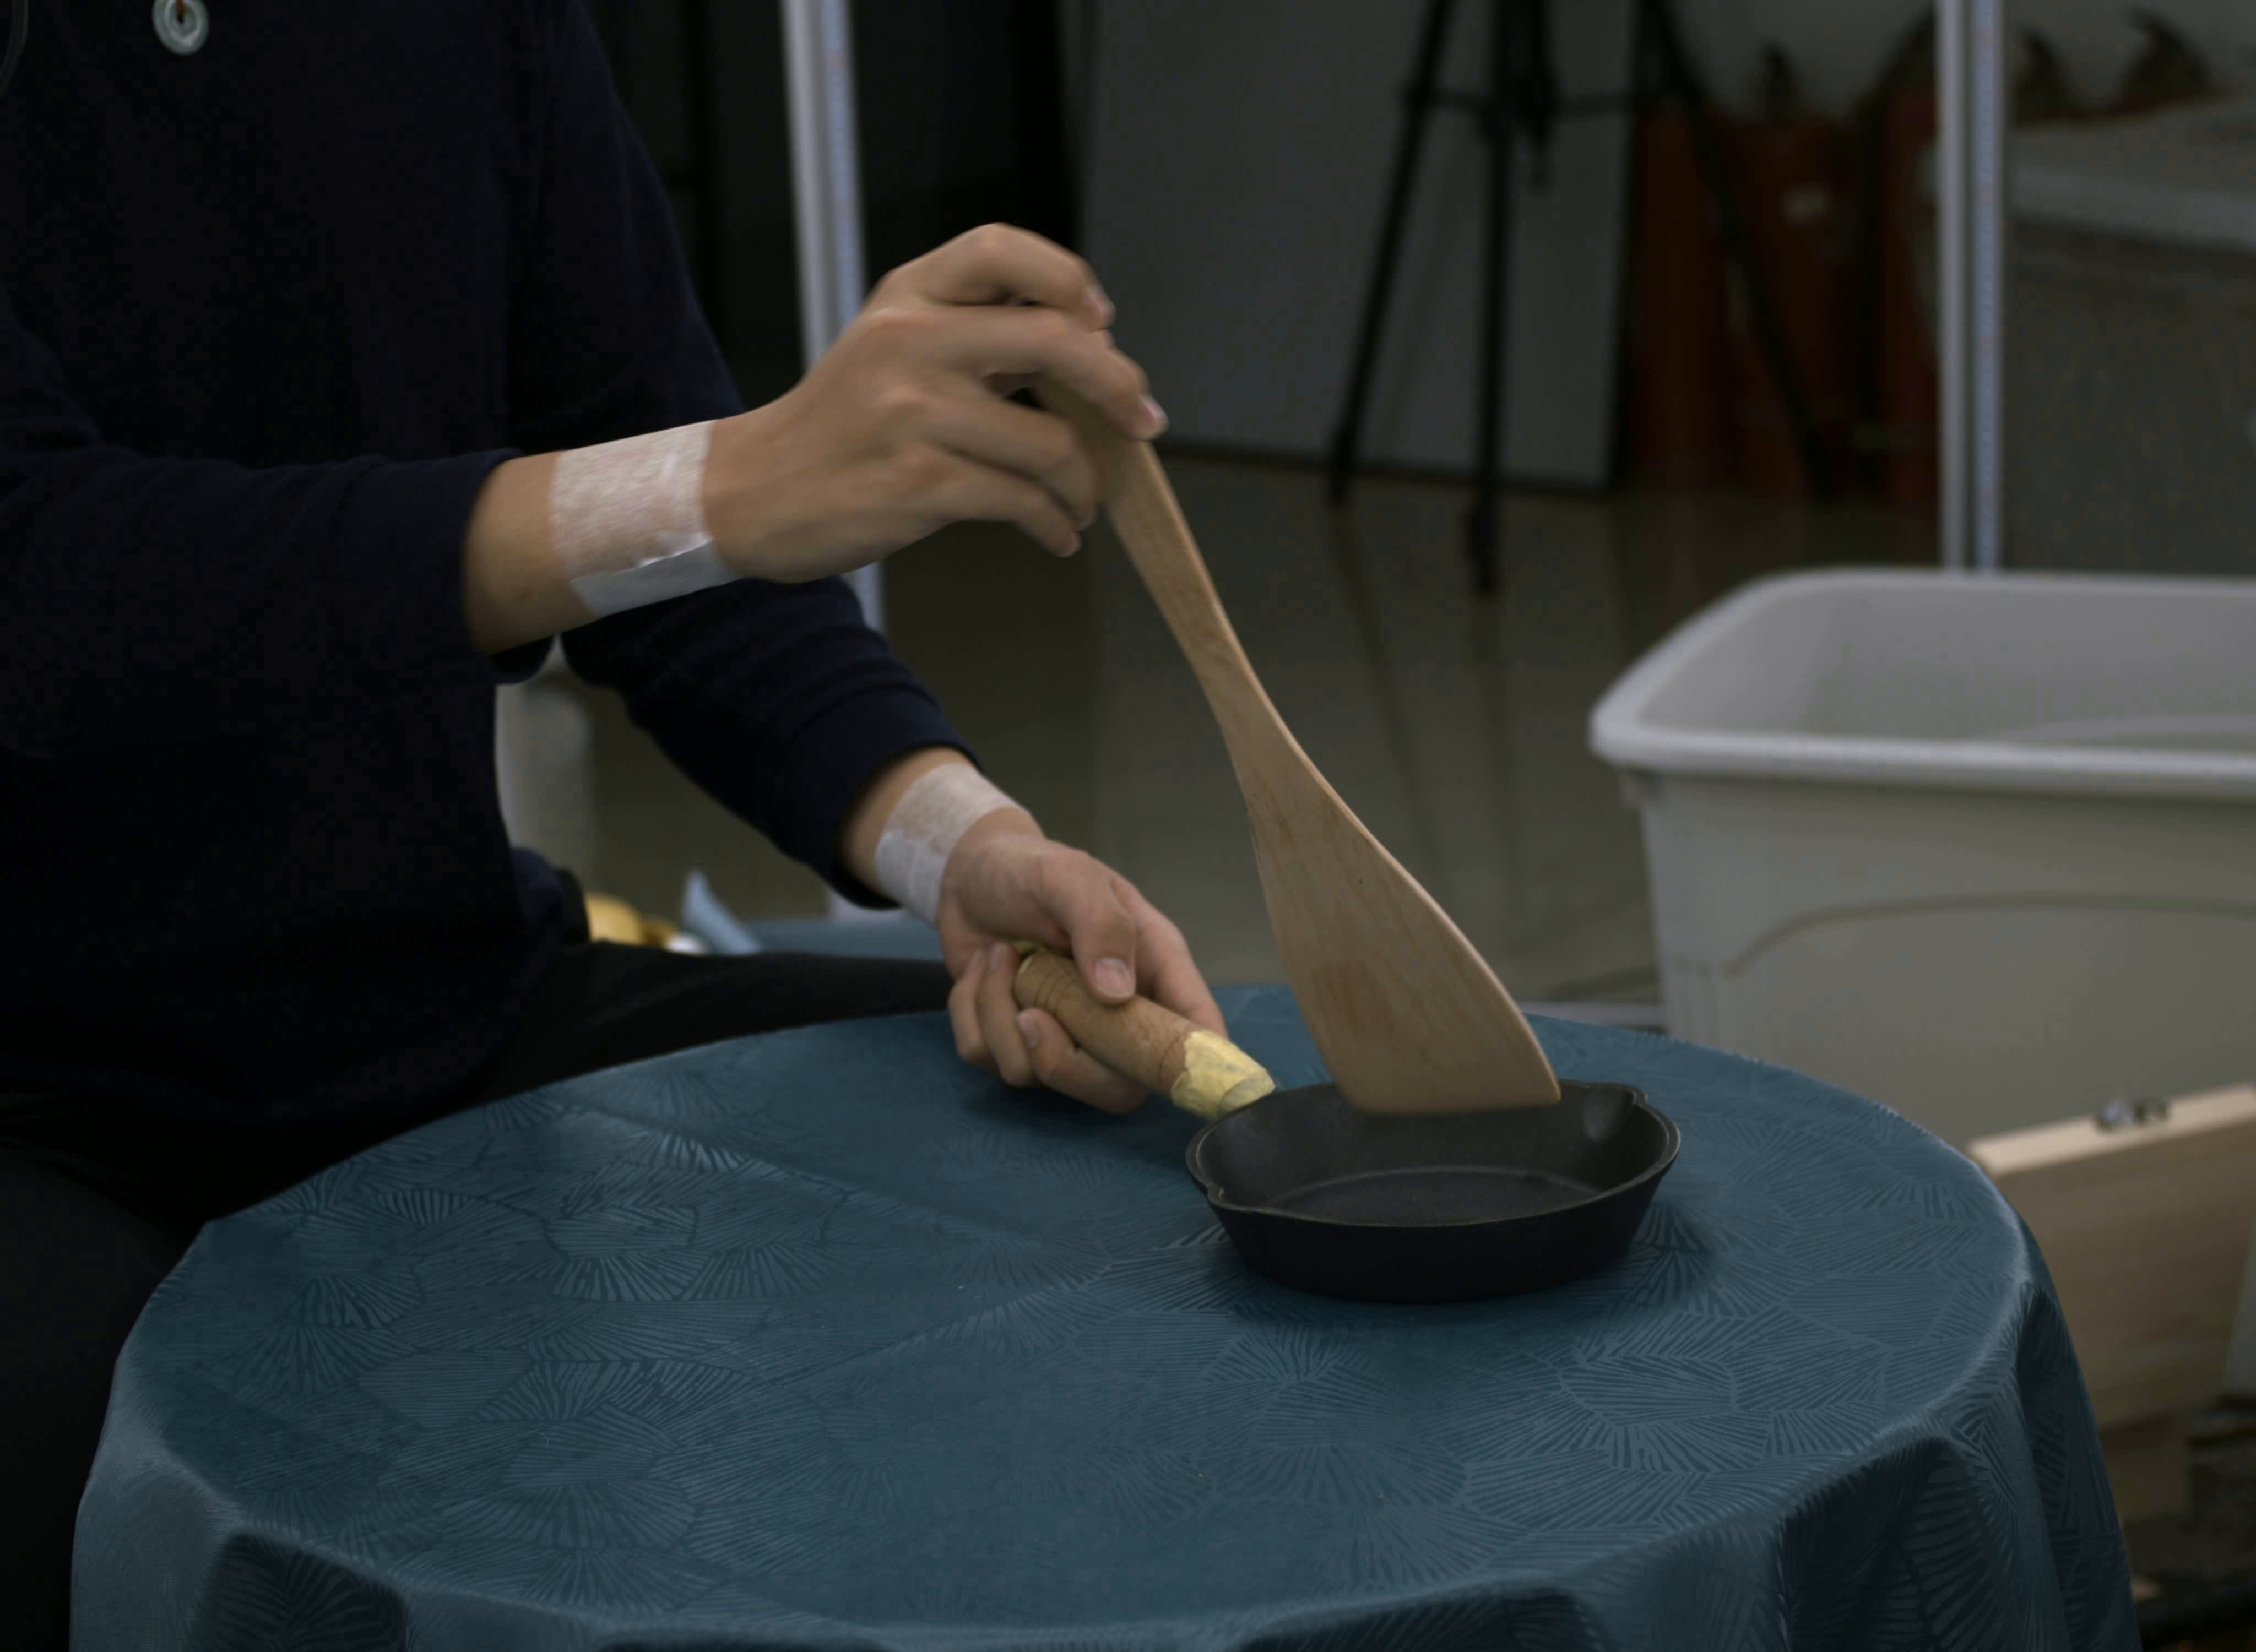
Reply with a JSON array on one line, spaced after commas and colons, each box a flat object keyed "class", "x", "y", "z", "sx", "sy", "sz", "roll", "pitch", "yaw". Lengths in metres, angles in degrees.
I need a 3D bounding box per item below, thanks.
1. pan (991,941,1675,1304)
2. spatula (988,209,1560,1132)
[{"class": "pan", "x": 0.050, "y": 0.093, "z": 1.766, "sx": 0.165, "sy": 0.050, "sz": 0.328, "roll": -13, "pitch": 17, "yaw": -31}, {"class": "spatula", "x": 0.036, "y": -0.042, "z": 1.672, "sx": 0.080, "sy": 0.329, "sz": 0.016, "roll": -17, "pitch": 15, "yaw": 35}]
